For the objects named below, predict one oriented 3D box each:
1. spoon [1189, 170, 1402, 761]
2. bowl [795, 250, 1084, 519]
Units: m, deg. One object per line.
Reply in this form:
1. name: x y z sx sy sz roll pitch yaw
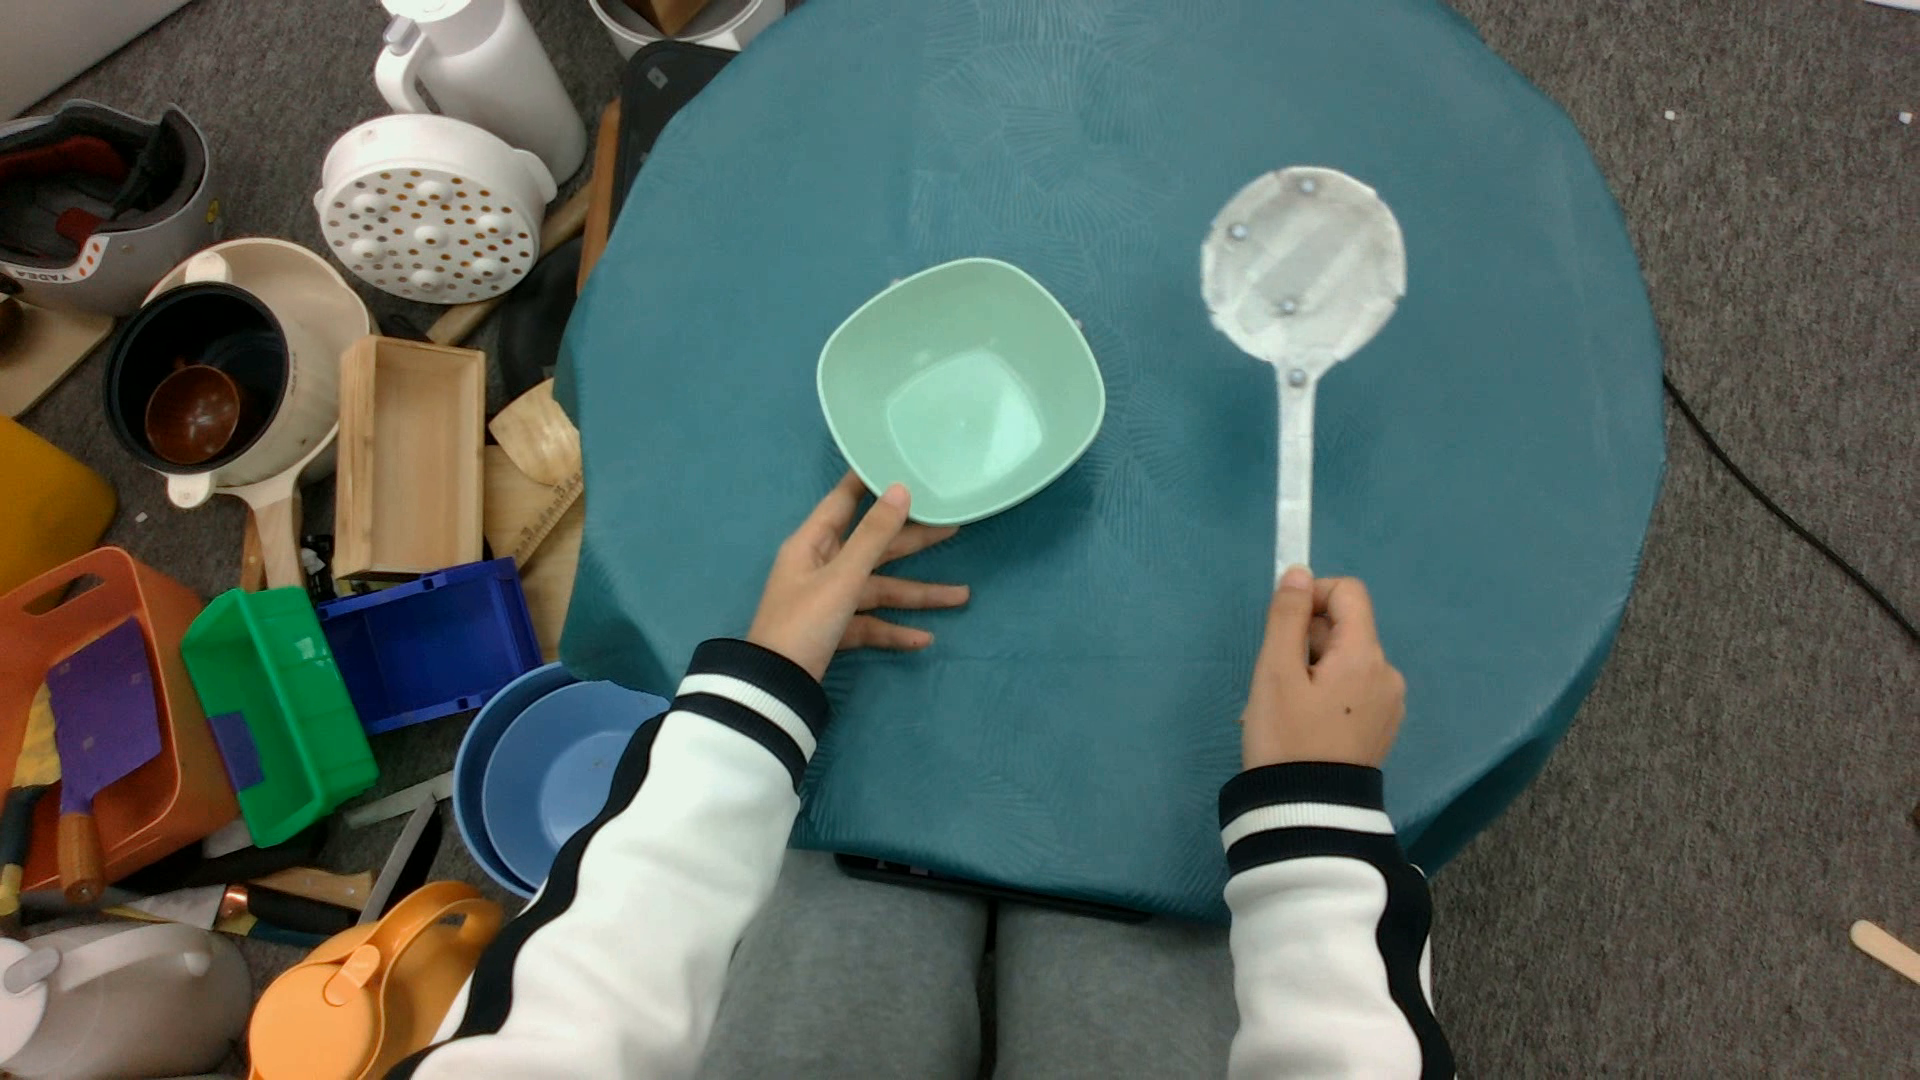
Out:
1. spoon: 0.146 -0.037 0.651 0.100 0.059 0.278 5 76 22
2. bowl: -0.010 -0.075 0.733 0.151 0.058 0.152 -1 72 2
